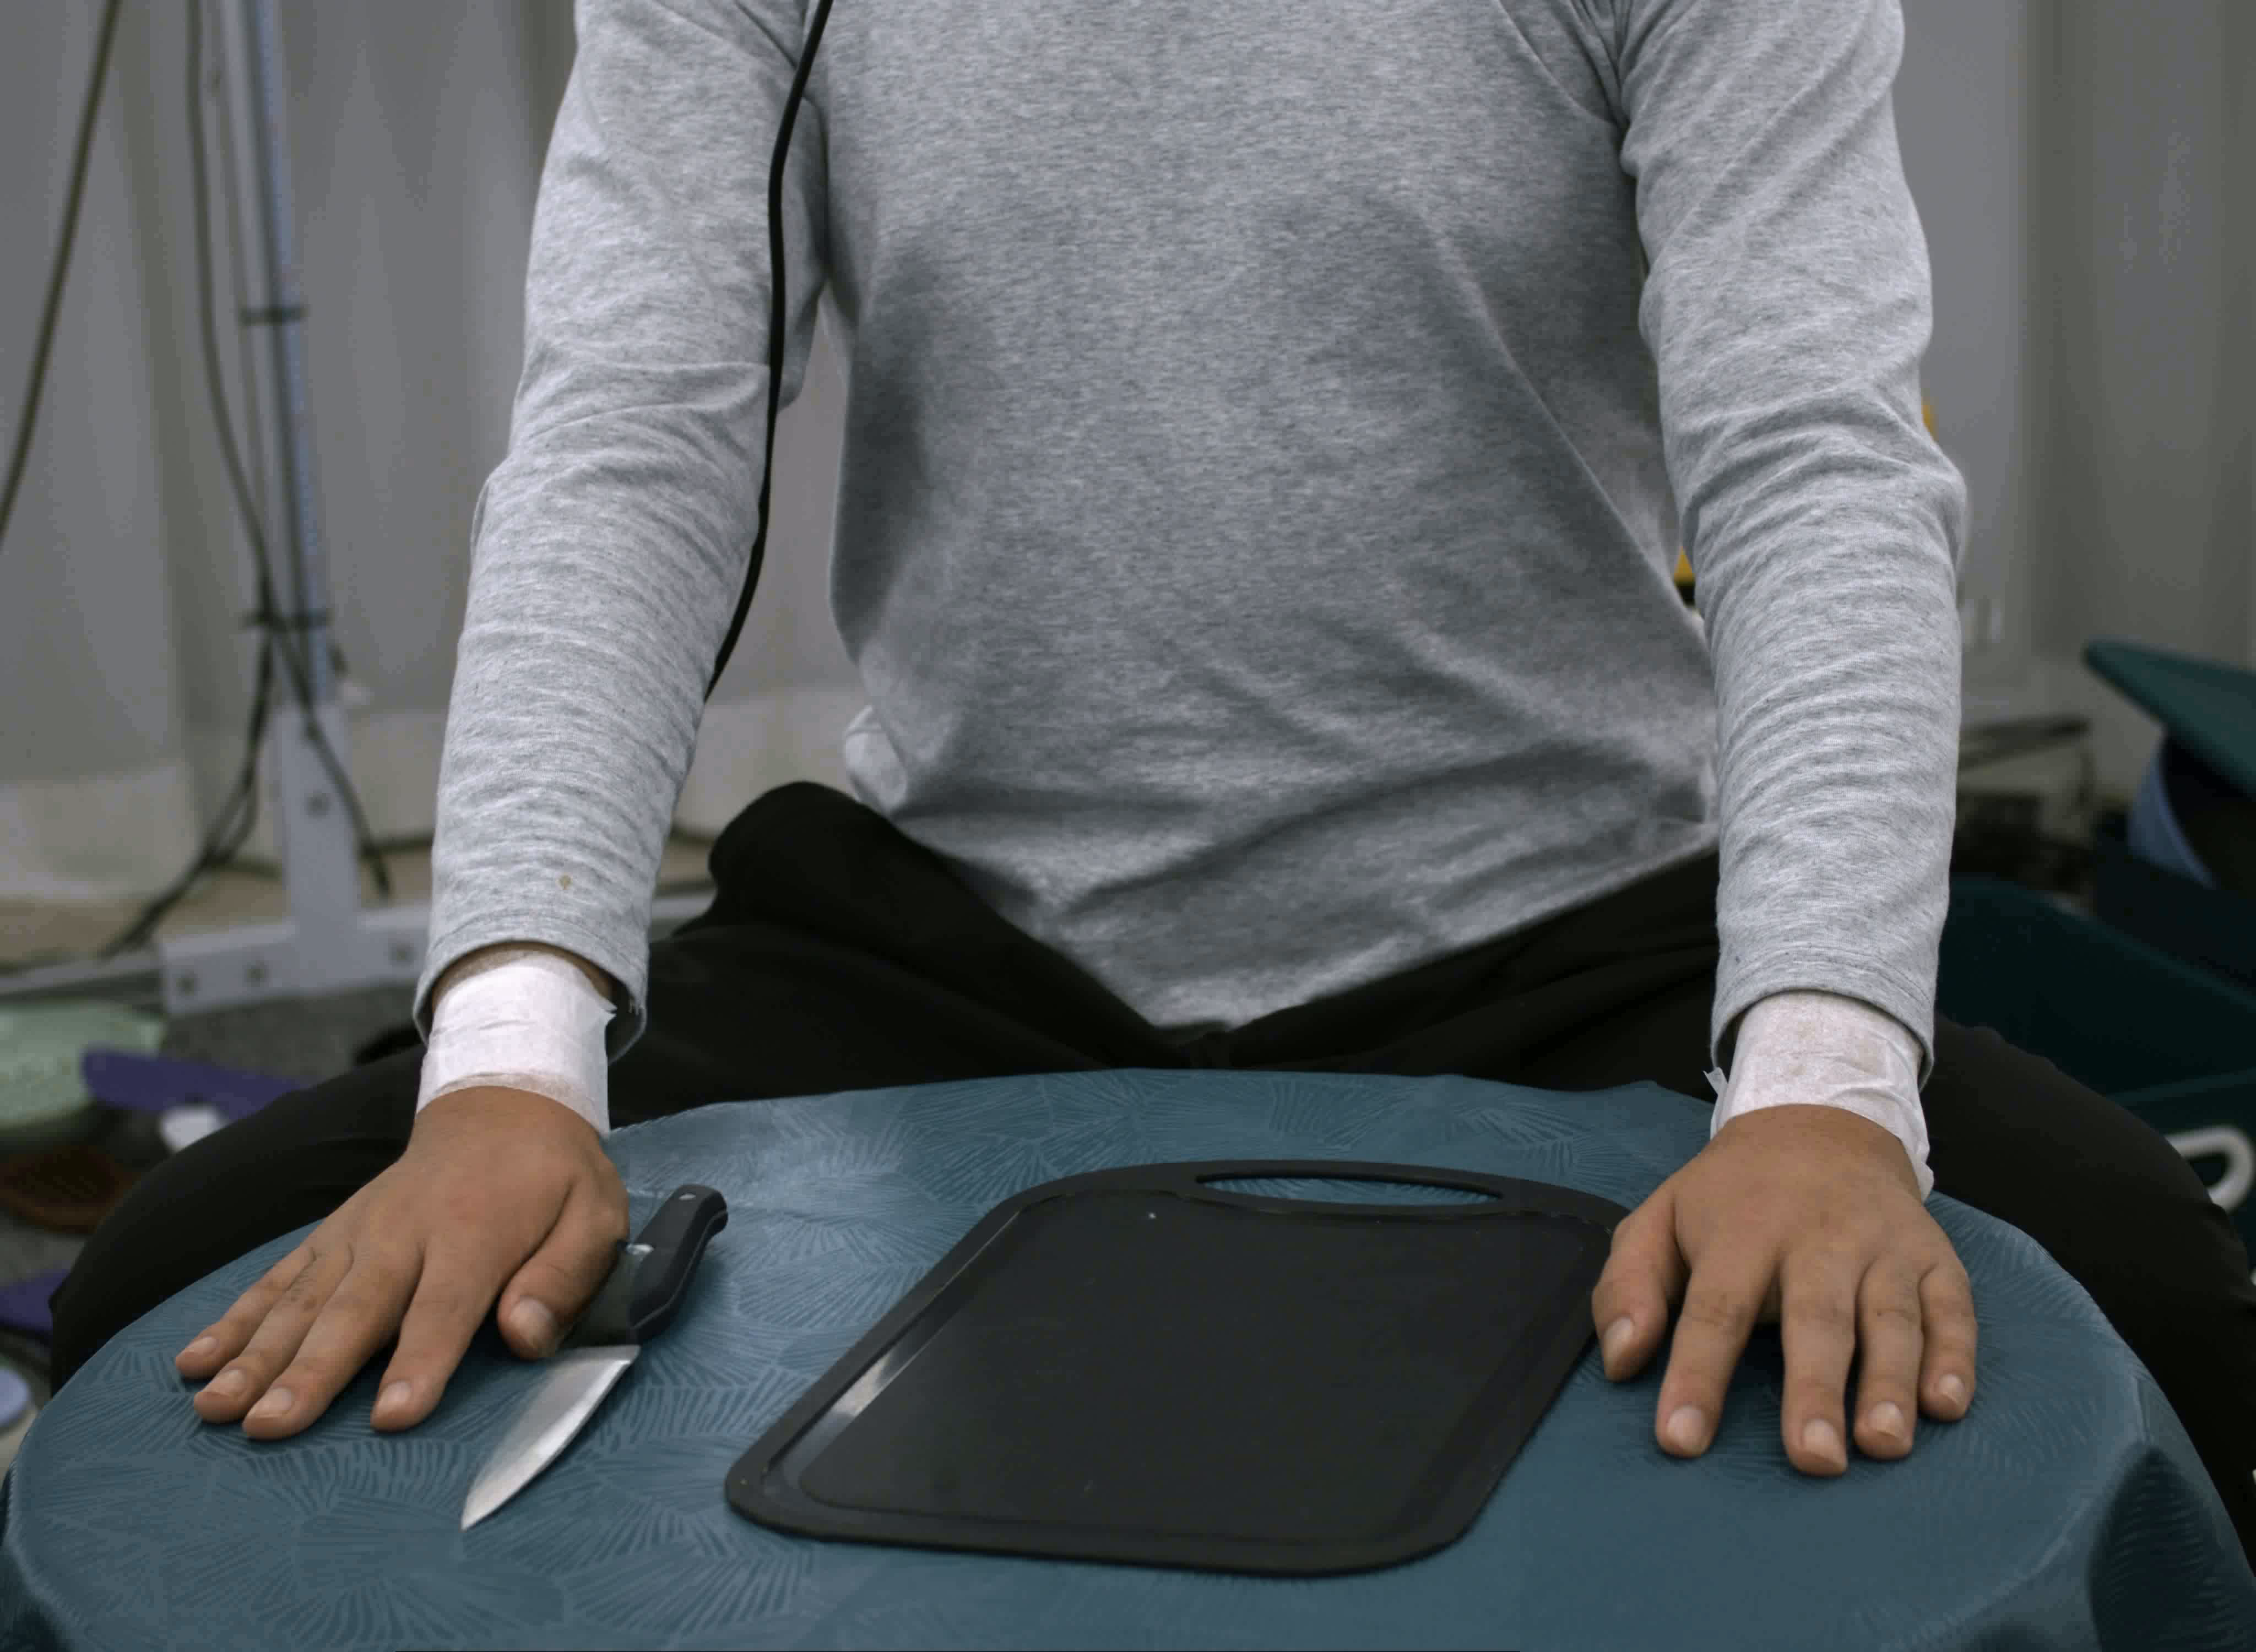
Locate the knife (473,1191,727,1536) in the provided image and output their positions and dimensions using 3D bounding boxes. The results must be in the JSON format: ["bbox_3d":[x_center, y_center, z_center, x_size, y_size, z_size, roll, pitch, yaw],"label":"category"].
[{"bbox_3d":[-0.154,0.154,1.577,0.024,0.016,0.239,-1,17,11],"label":"knife"}]

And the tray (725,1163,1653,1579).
[{"bbox_3d":[0.026,0.148,1.576,0.211,0.010,0.326,2,15,18],"label":"tray"}]
